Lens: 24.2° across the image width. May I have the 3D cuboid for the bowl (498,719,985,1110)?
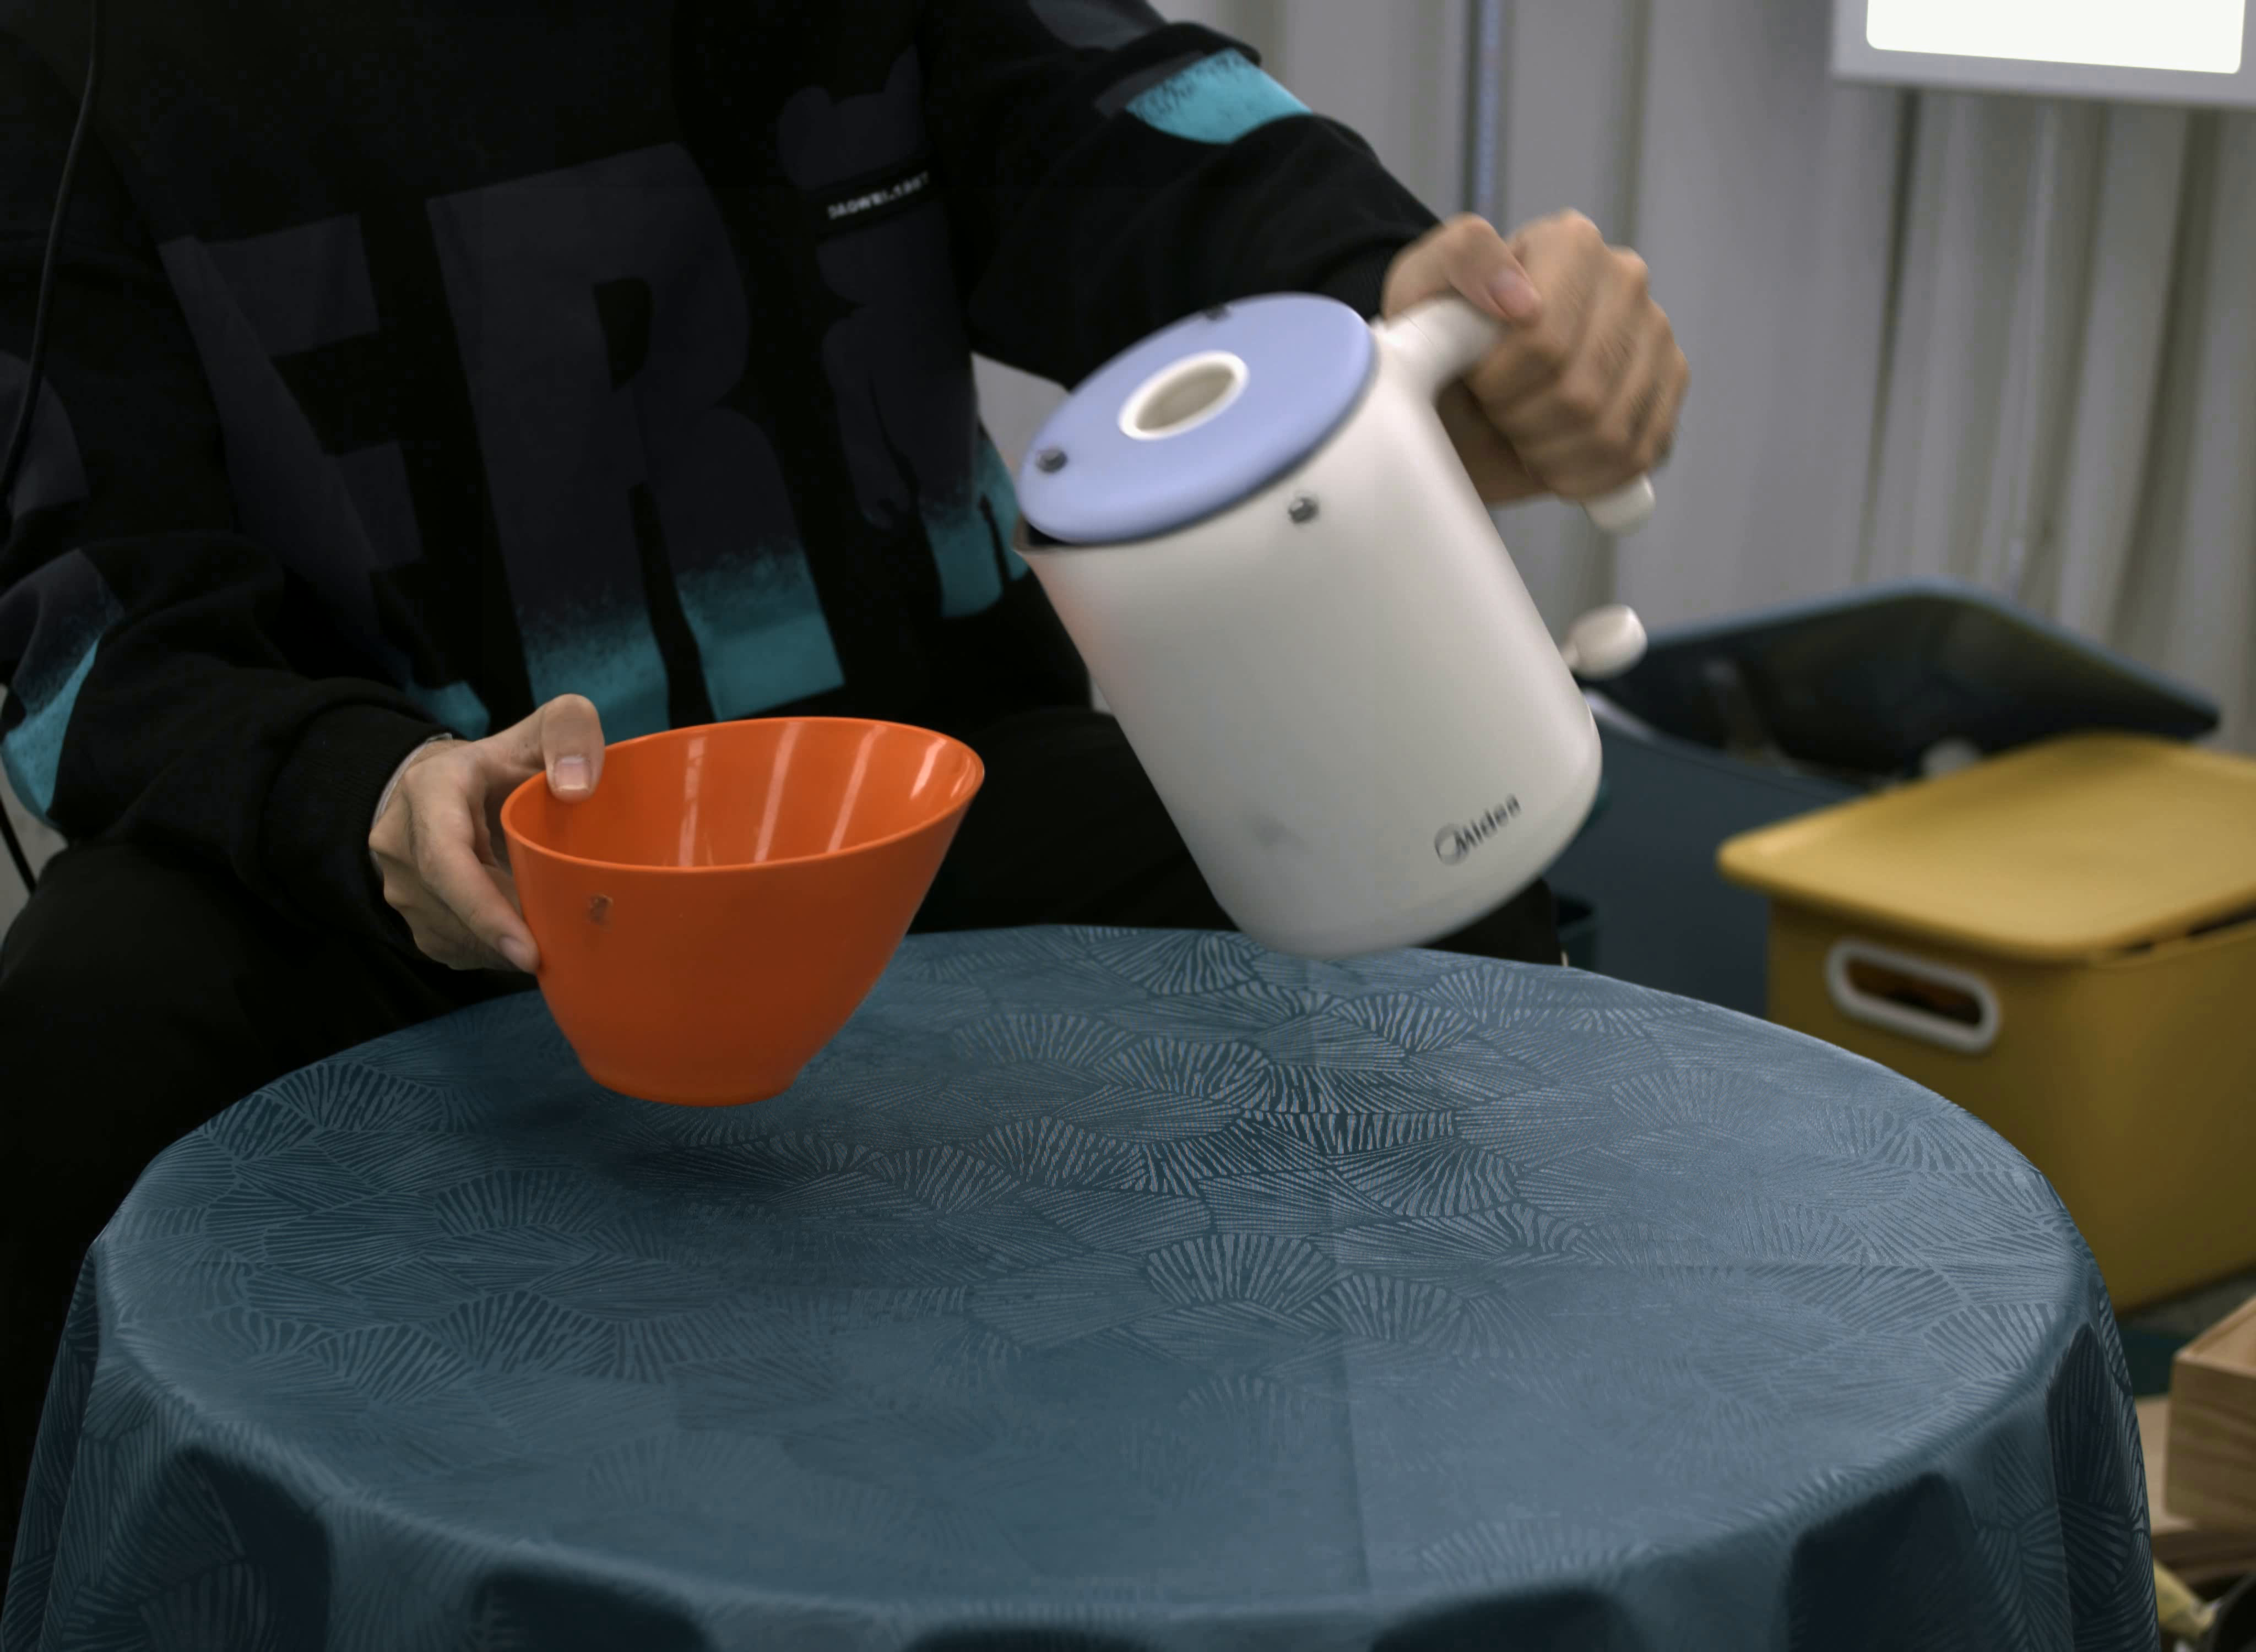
[{"bbox_3d":[-0.122,0.028,1.621,0.147,0.105,0.147,6,17,-1],"label":"bowl"}]

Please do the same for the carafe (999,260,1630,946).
[{"bbox_3d":[0.070,-0.080,1.616,0.191,0.185,0.130,-35,31,-13],"label":"carafe"}]
